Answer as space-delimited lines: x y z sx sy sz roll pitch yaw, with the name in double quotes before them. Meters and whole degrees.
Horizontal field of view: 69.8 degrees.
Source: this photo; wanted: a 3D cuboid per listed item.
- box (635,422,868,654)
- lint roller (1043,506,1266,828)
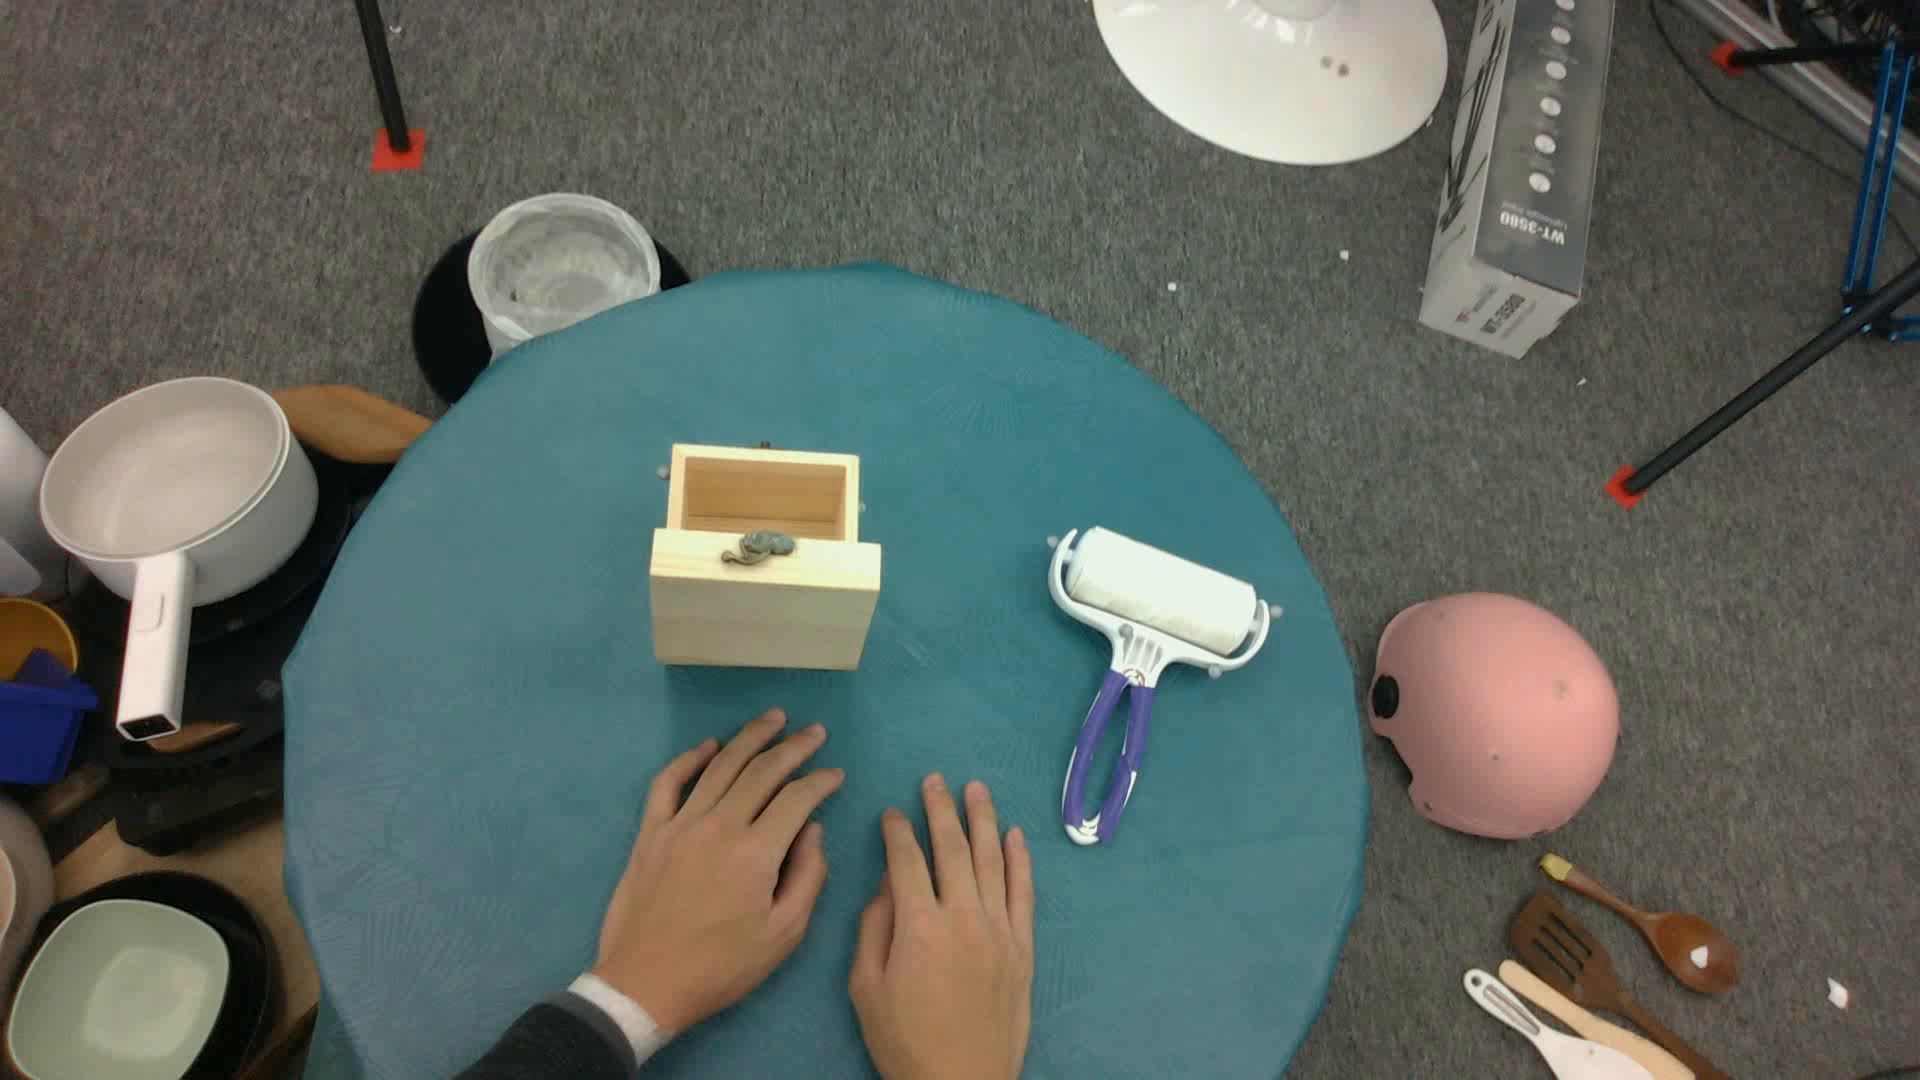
"box" -0.105 -0.010 0.706 0.102 0.183 0.134 2 67 -9
"lint roller" 0.093 0.073 0.780 0.133 0.050 0.181 22 63 -1
